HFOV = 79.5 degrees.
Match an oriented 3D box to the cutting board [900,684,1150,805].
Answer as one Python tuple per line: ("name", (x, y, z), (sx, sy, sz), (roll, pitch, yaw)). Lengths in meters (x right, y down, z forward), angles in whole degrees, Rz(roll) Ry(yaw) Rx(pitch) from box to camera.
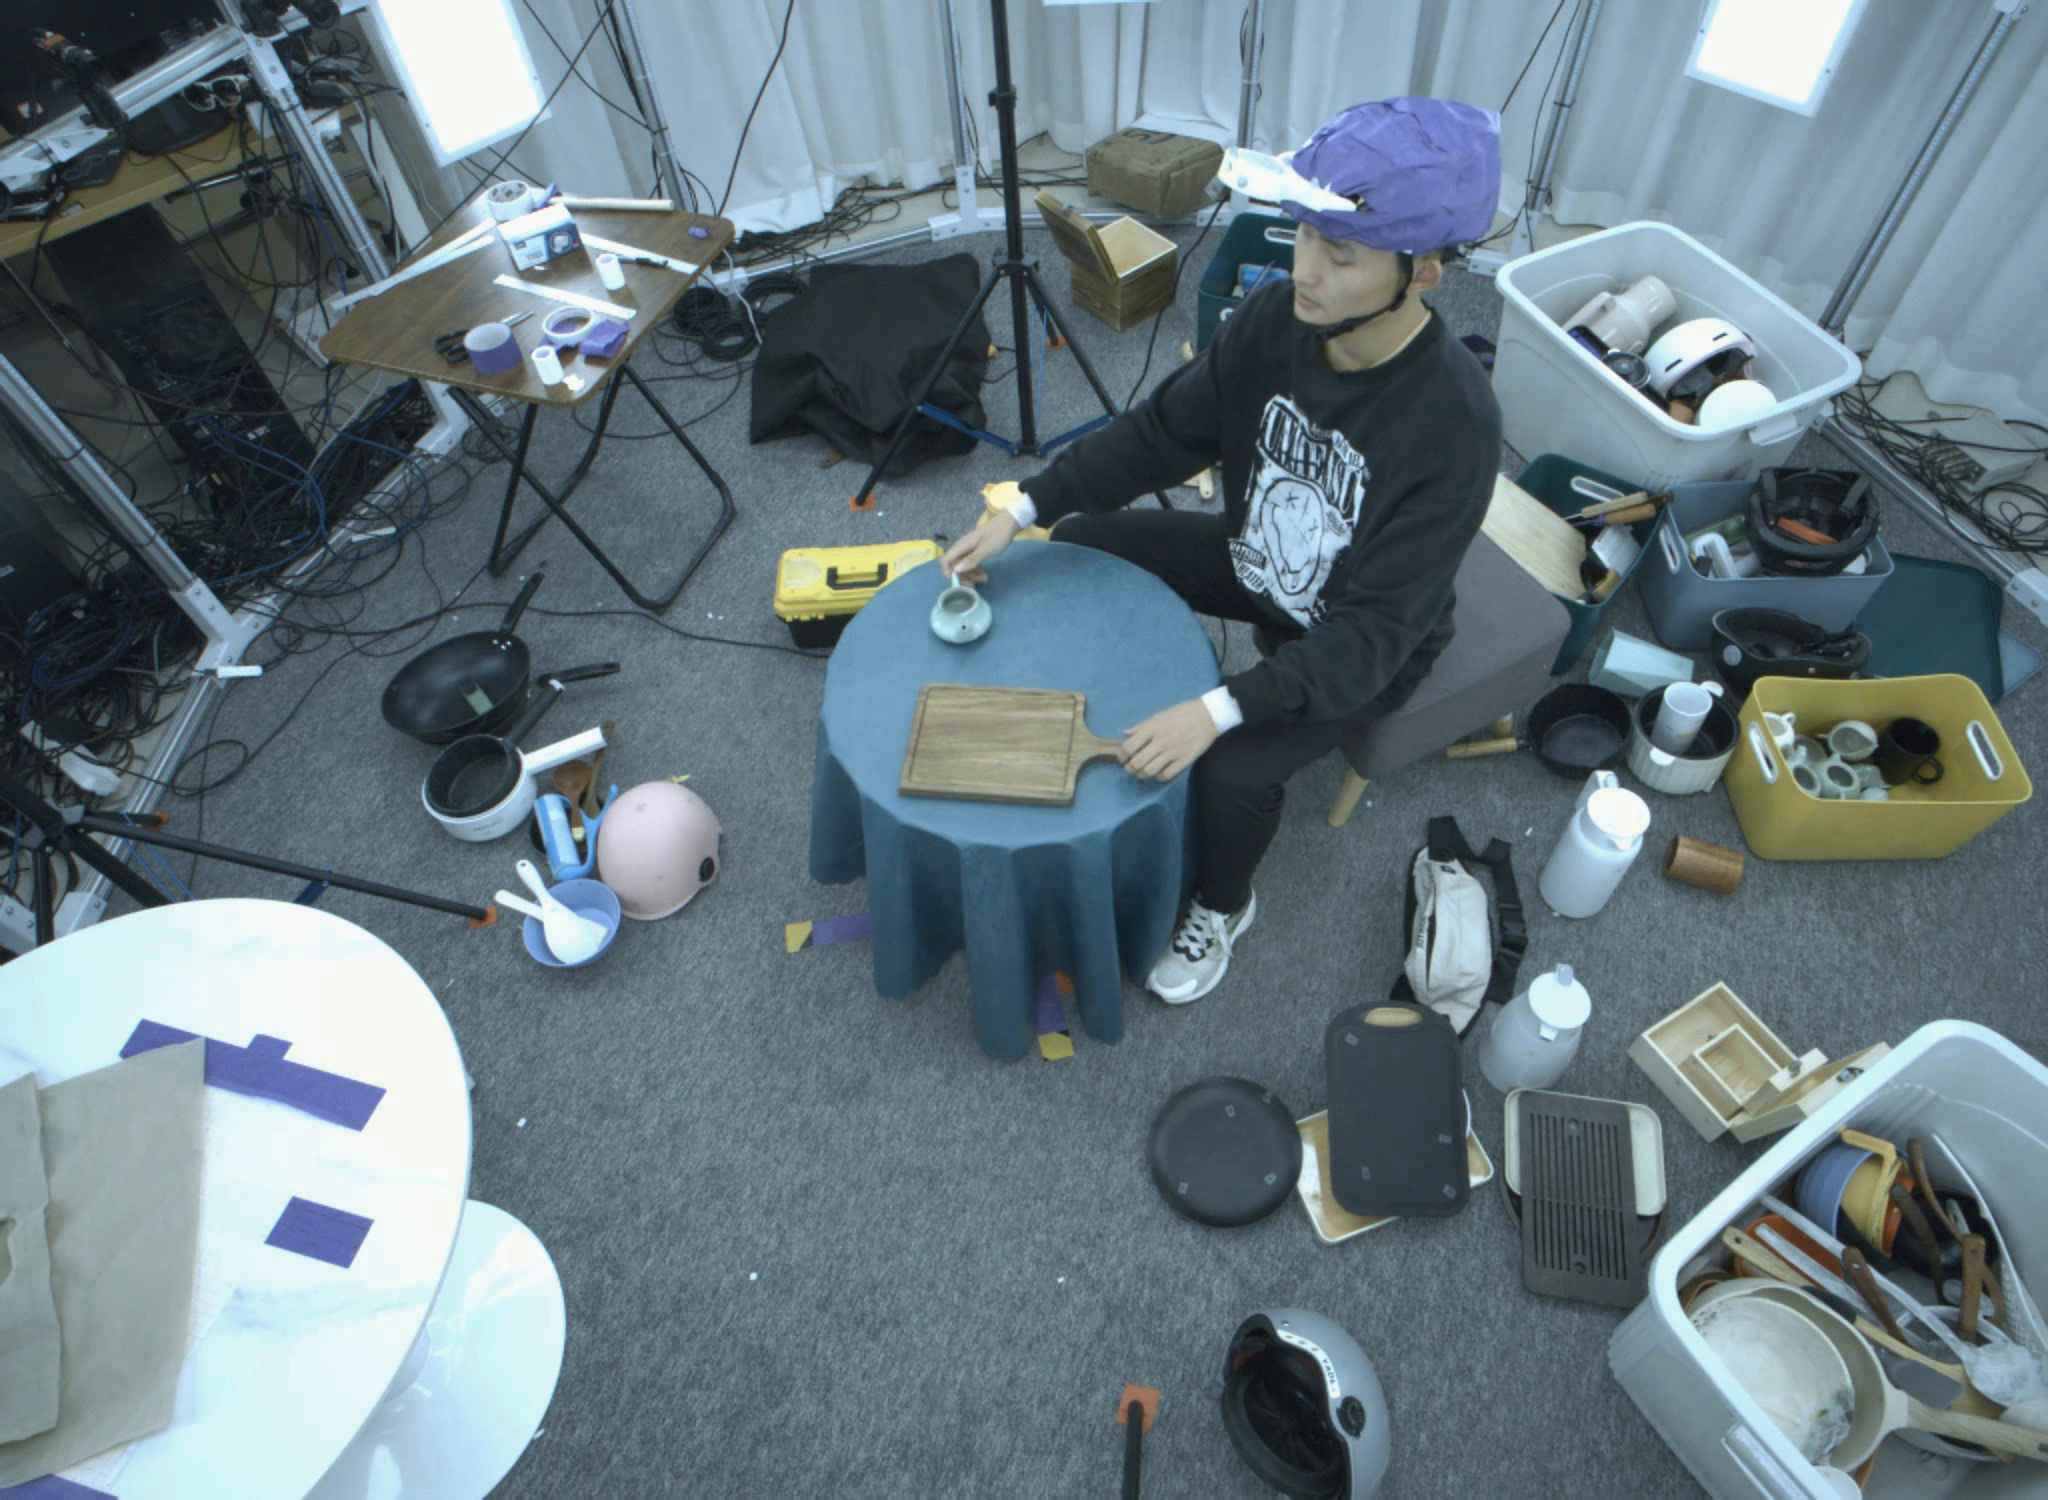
("cutting board", (0.006, -0.009, 1.776), (0.351, 0.023, 0.199), (3, 55, 4))

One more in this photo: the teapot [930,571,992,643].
("teapot", (-0.101, -0.217, 1.905), (0.096, 0.062, 0.135), (-12, 55, -5))
